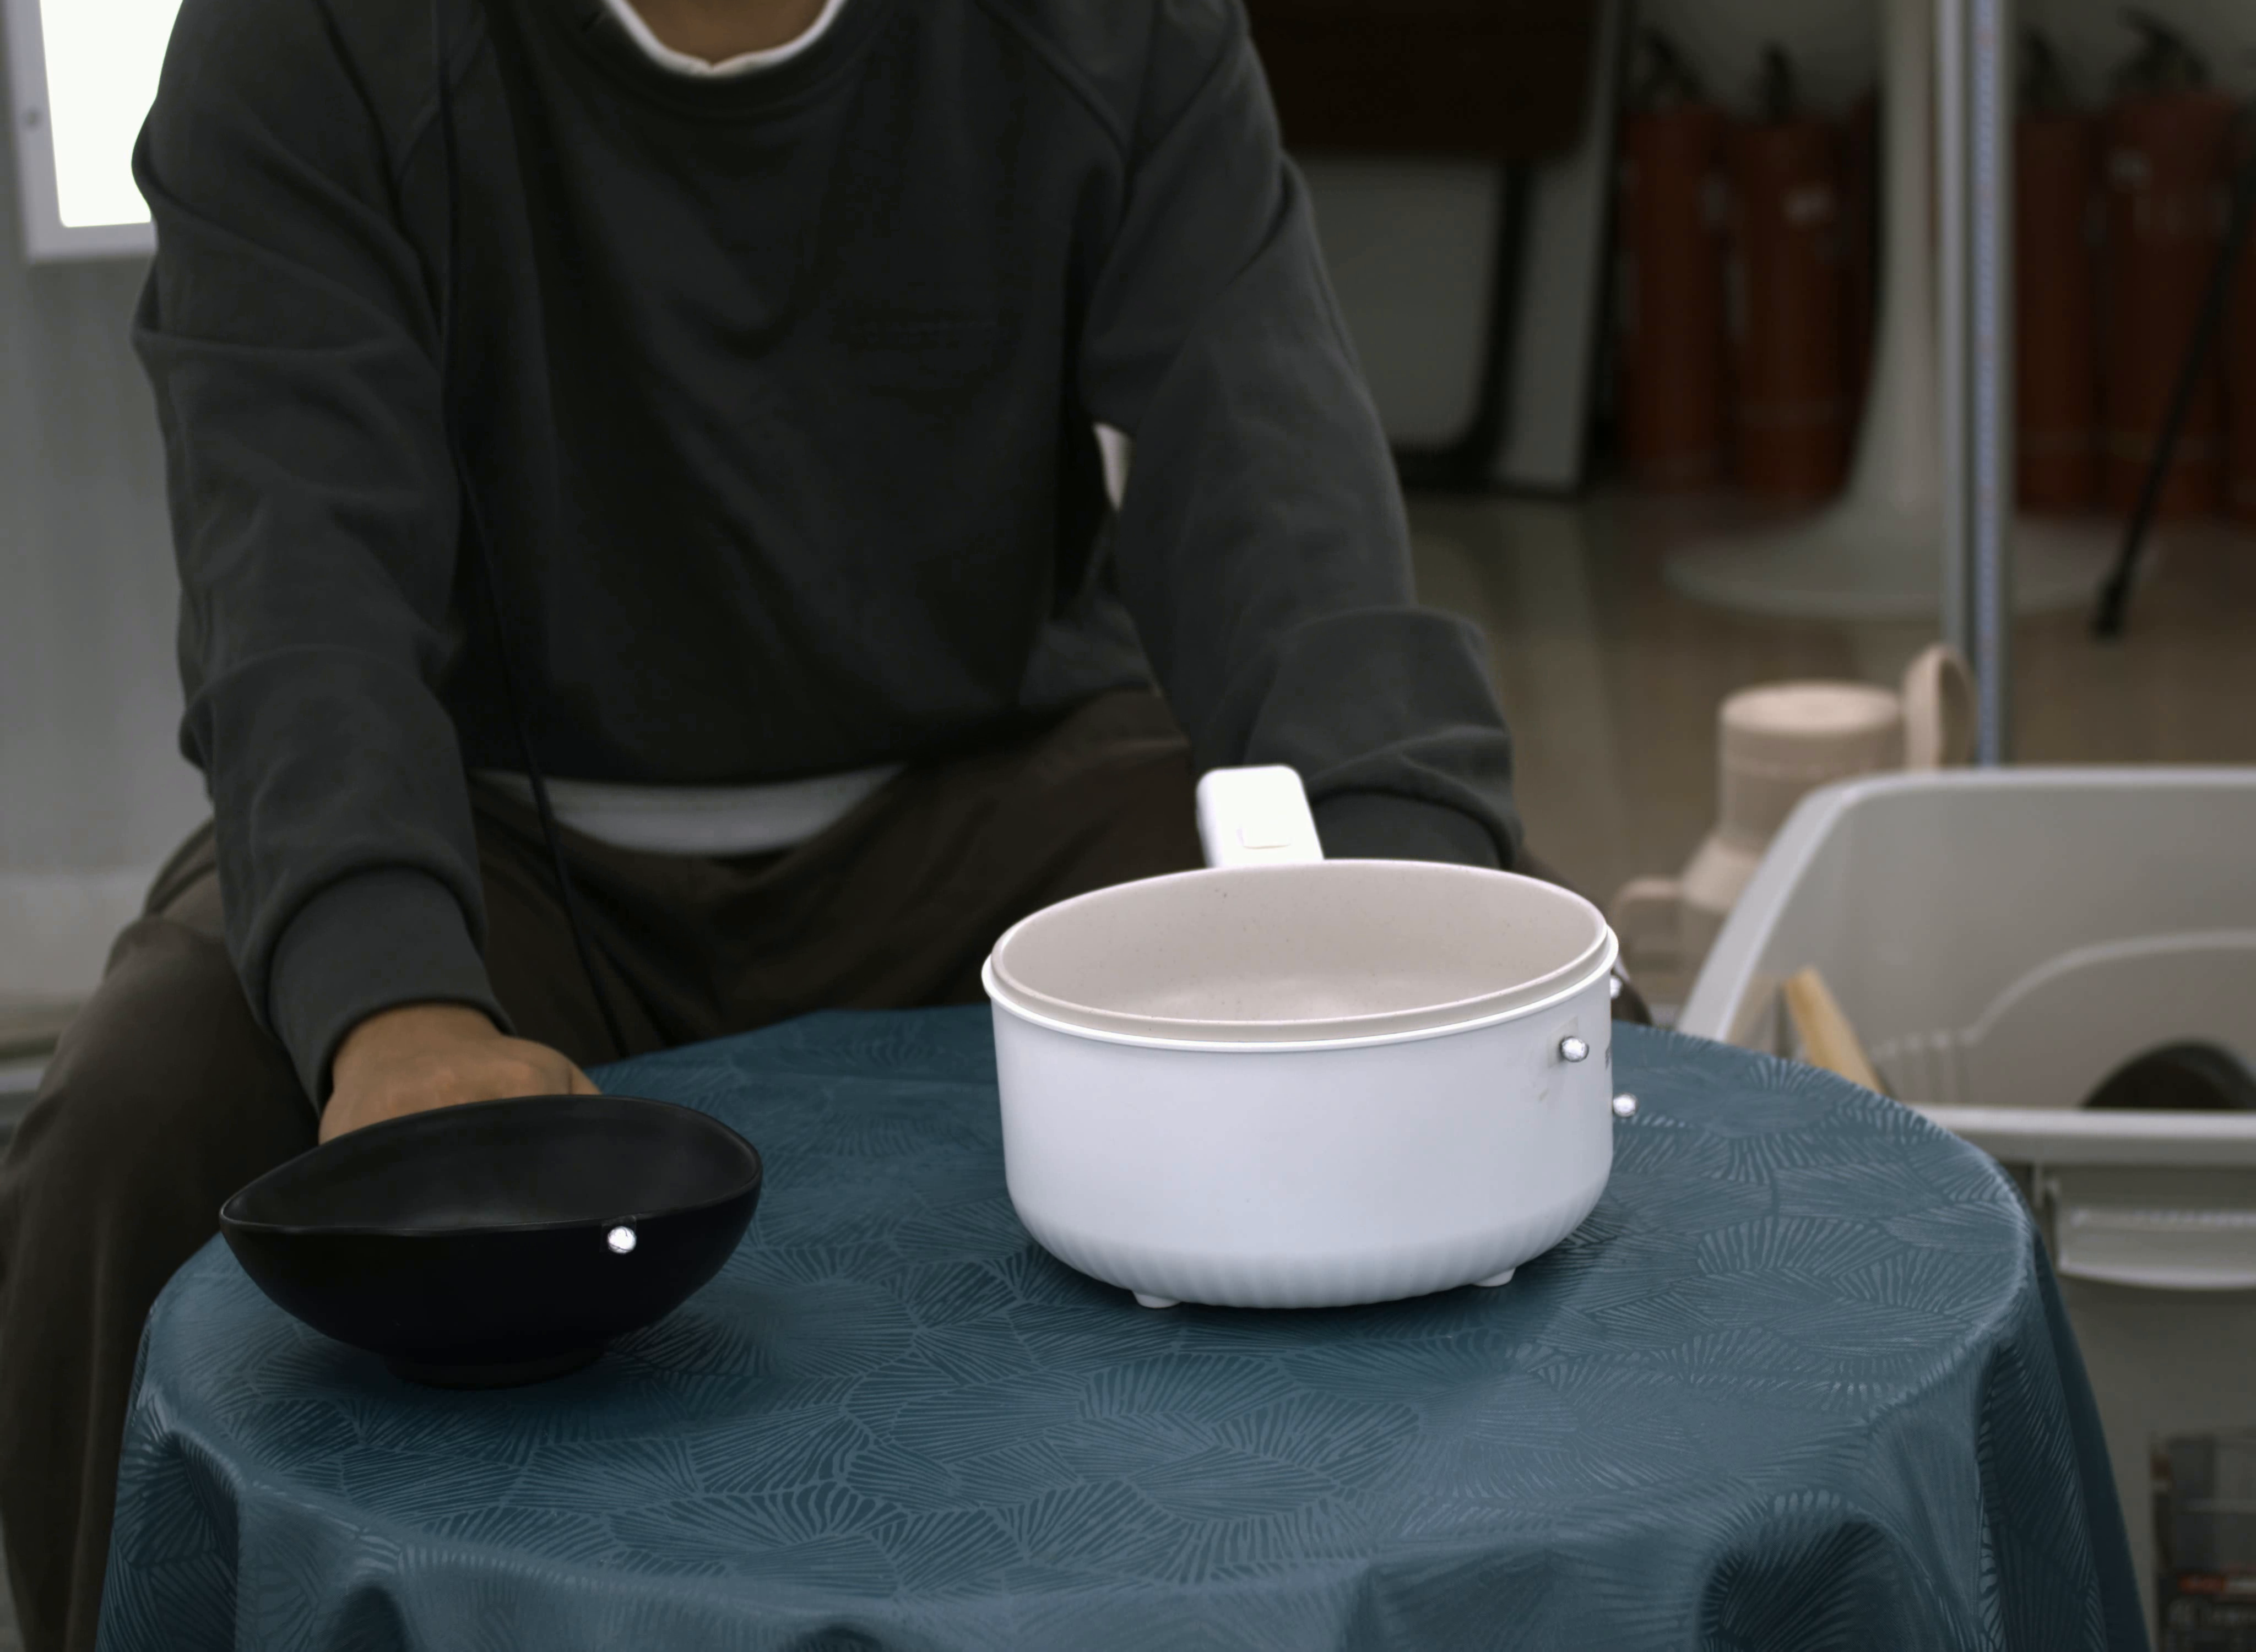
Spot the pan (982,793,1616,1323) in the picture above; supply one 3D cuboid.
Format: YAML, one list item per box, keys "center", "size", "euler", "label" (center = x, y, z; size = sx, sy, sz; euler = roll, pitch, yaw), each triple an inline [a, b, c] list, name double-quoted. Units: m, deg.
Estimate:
- center: [0.054, 0.071, 1.776]
  size: [0.198, 0.103, 0.355]
  euler: [-6, 12, -1]
  label: "pan"

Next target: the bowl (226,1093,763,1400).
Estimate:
- center: [-0.191, 0.133, 1.645]
  size: [0.169, 0.067, 0.137]
  euler: [-3, 14, 12]
  label: "bowl"
